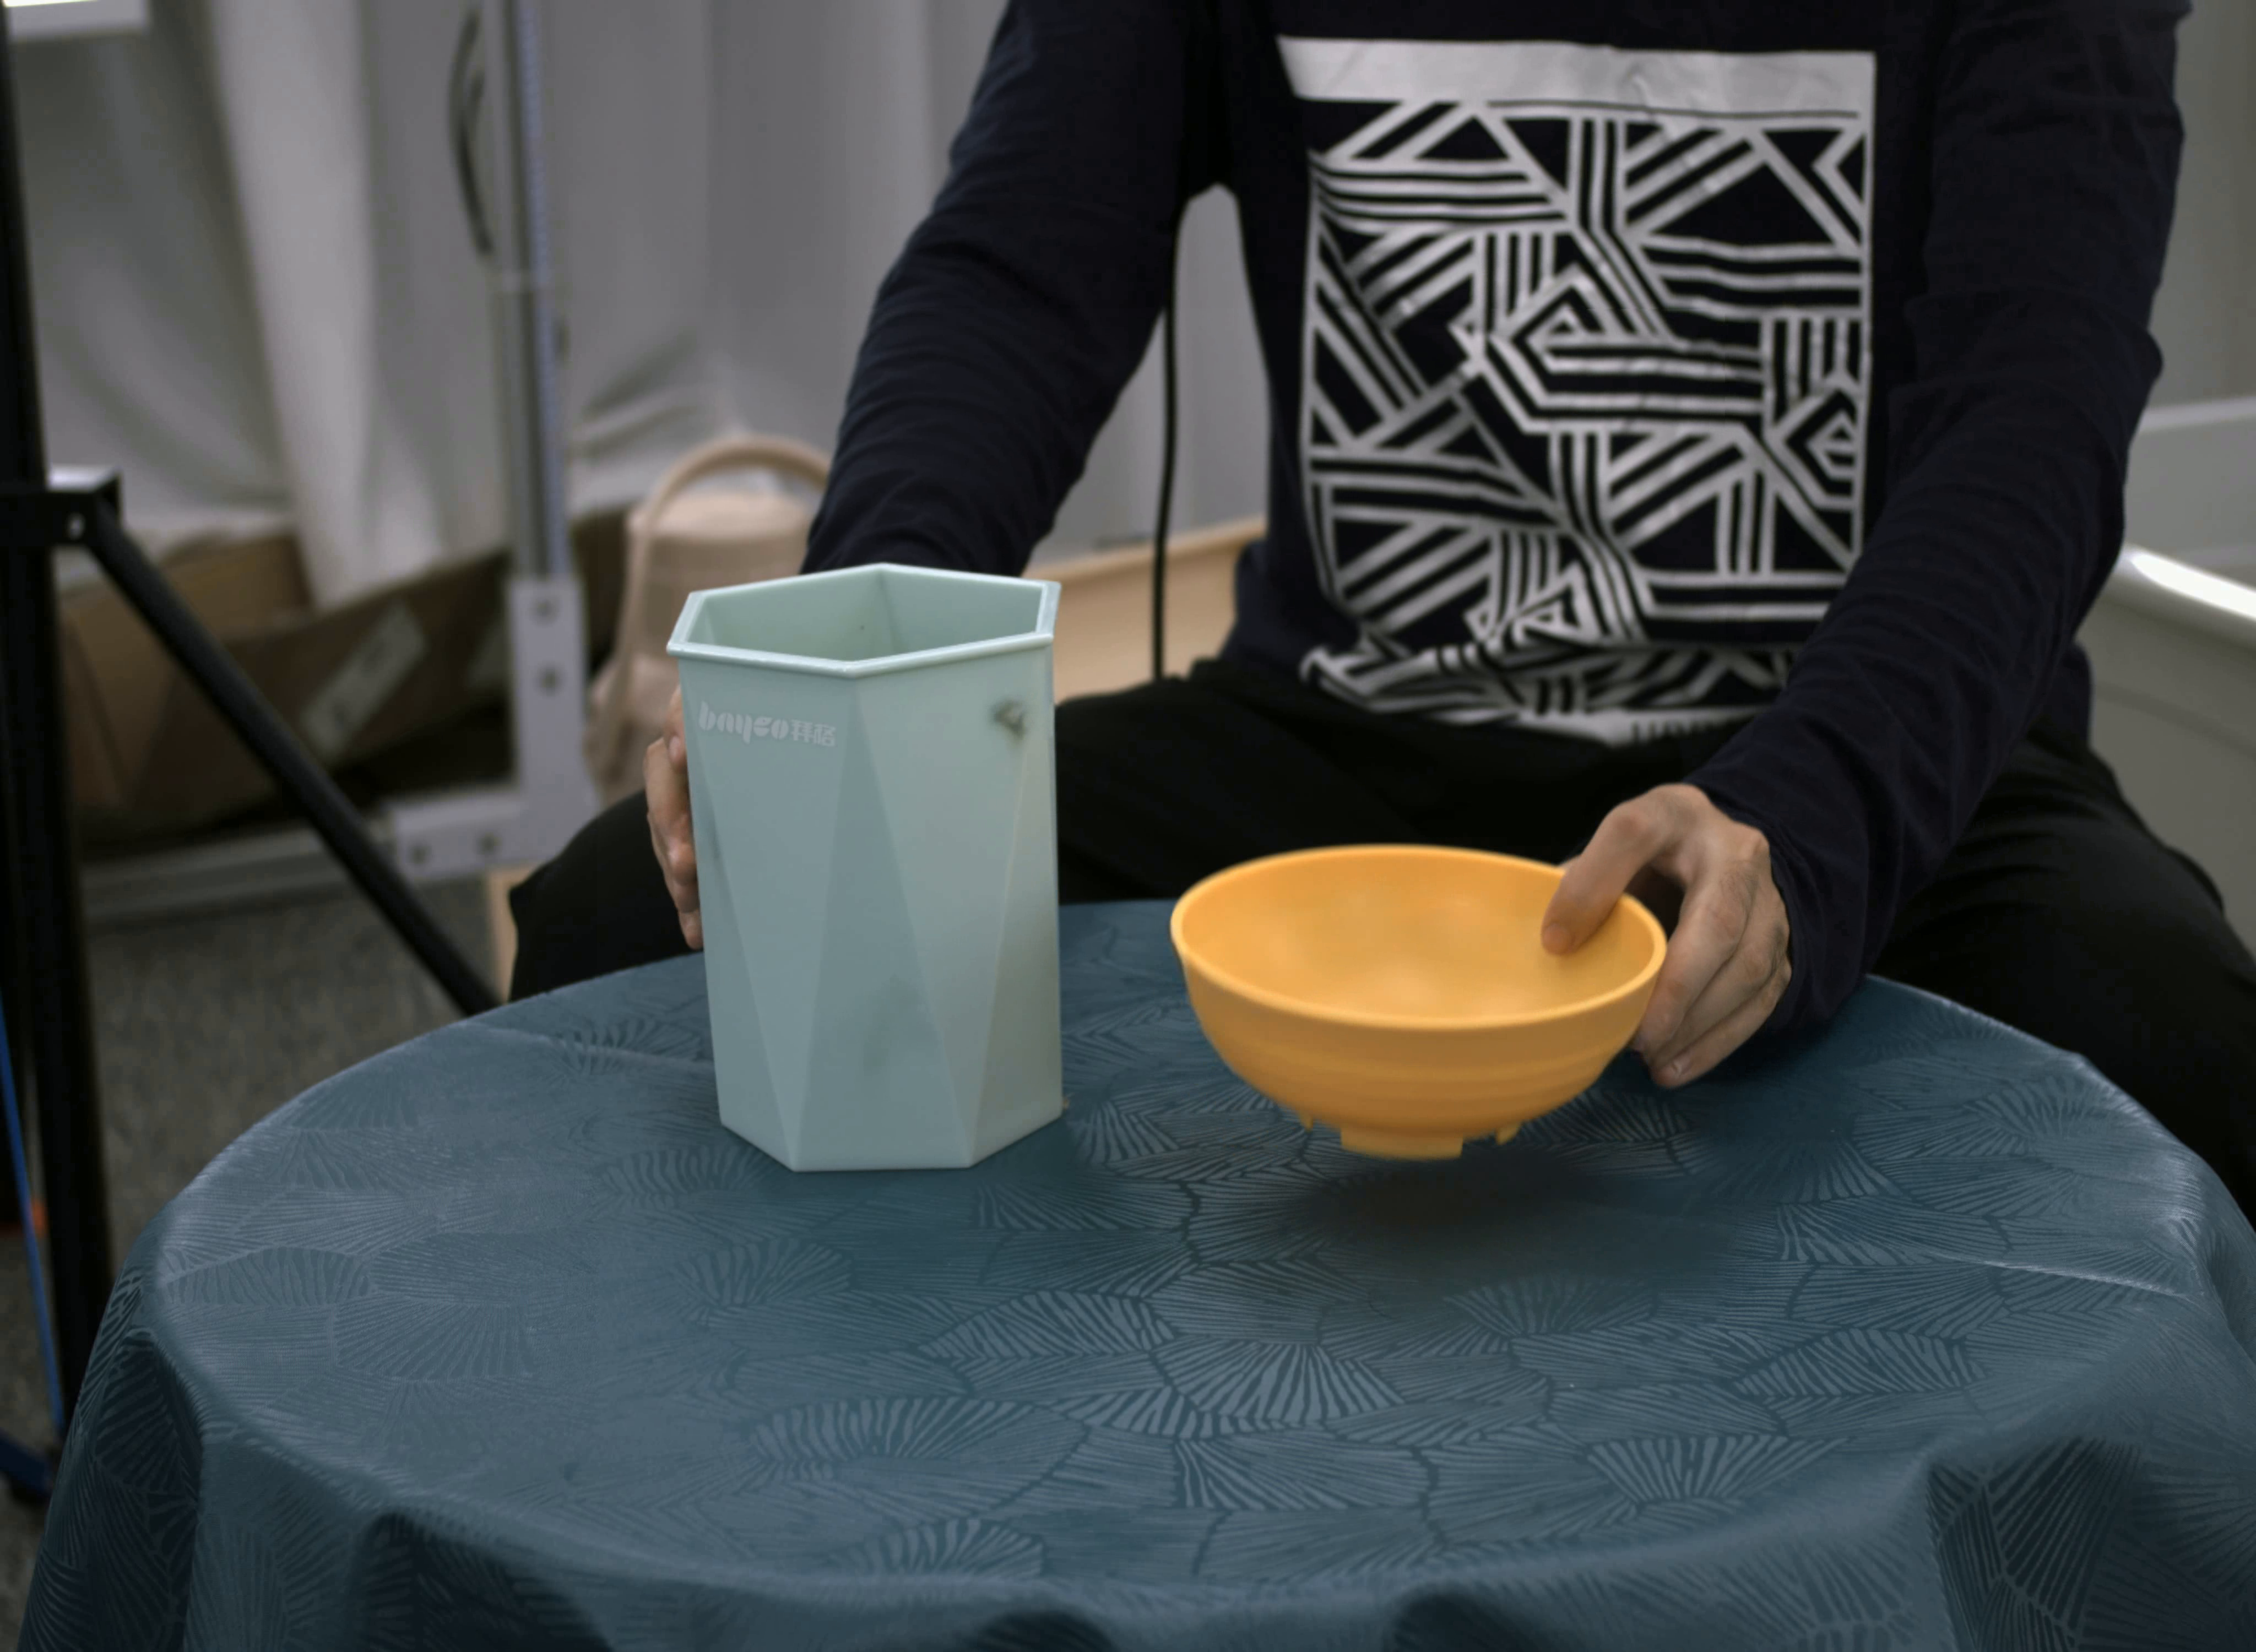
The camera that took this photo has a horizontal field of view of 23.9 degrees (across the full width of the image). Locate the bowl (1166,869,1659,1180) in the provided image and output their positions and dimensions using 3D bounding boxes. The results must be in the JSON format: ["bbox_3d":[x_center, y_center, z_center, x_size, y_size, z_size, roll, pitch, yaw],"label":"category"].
[{"bbox_3d":[0.081,0.064,1.548,0.144,0.060,0.146,2,18,-2],"label":"bowl"}]

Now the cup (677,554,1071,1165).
[{"bbox_3d":[-0.074,0.012,1.611,0.133,0.163,0.113,8,17,30],"label":"cup"}]
